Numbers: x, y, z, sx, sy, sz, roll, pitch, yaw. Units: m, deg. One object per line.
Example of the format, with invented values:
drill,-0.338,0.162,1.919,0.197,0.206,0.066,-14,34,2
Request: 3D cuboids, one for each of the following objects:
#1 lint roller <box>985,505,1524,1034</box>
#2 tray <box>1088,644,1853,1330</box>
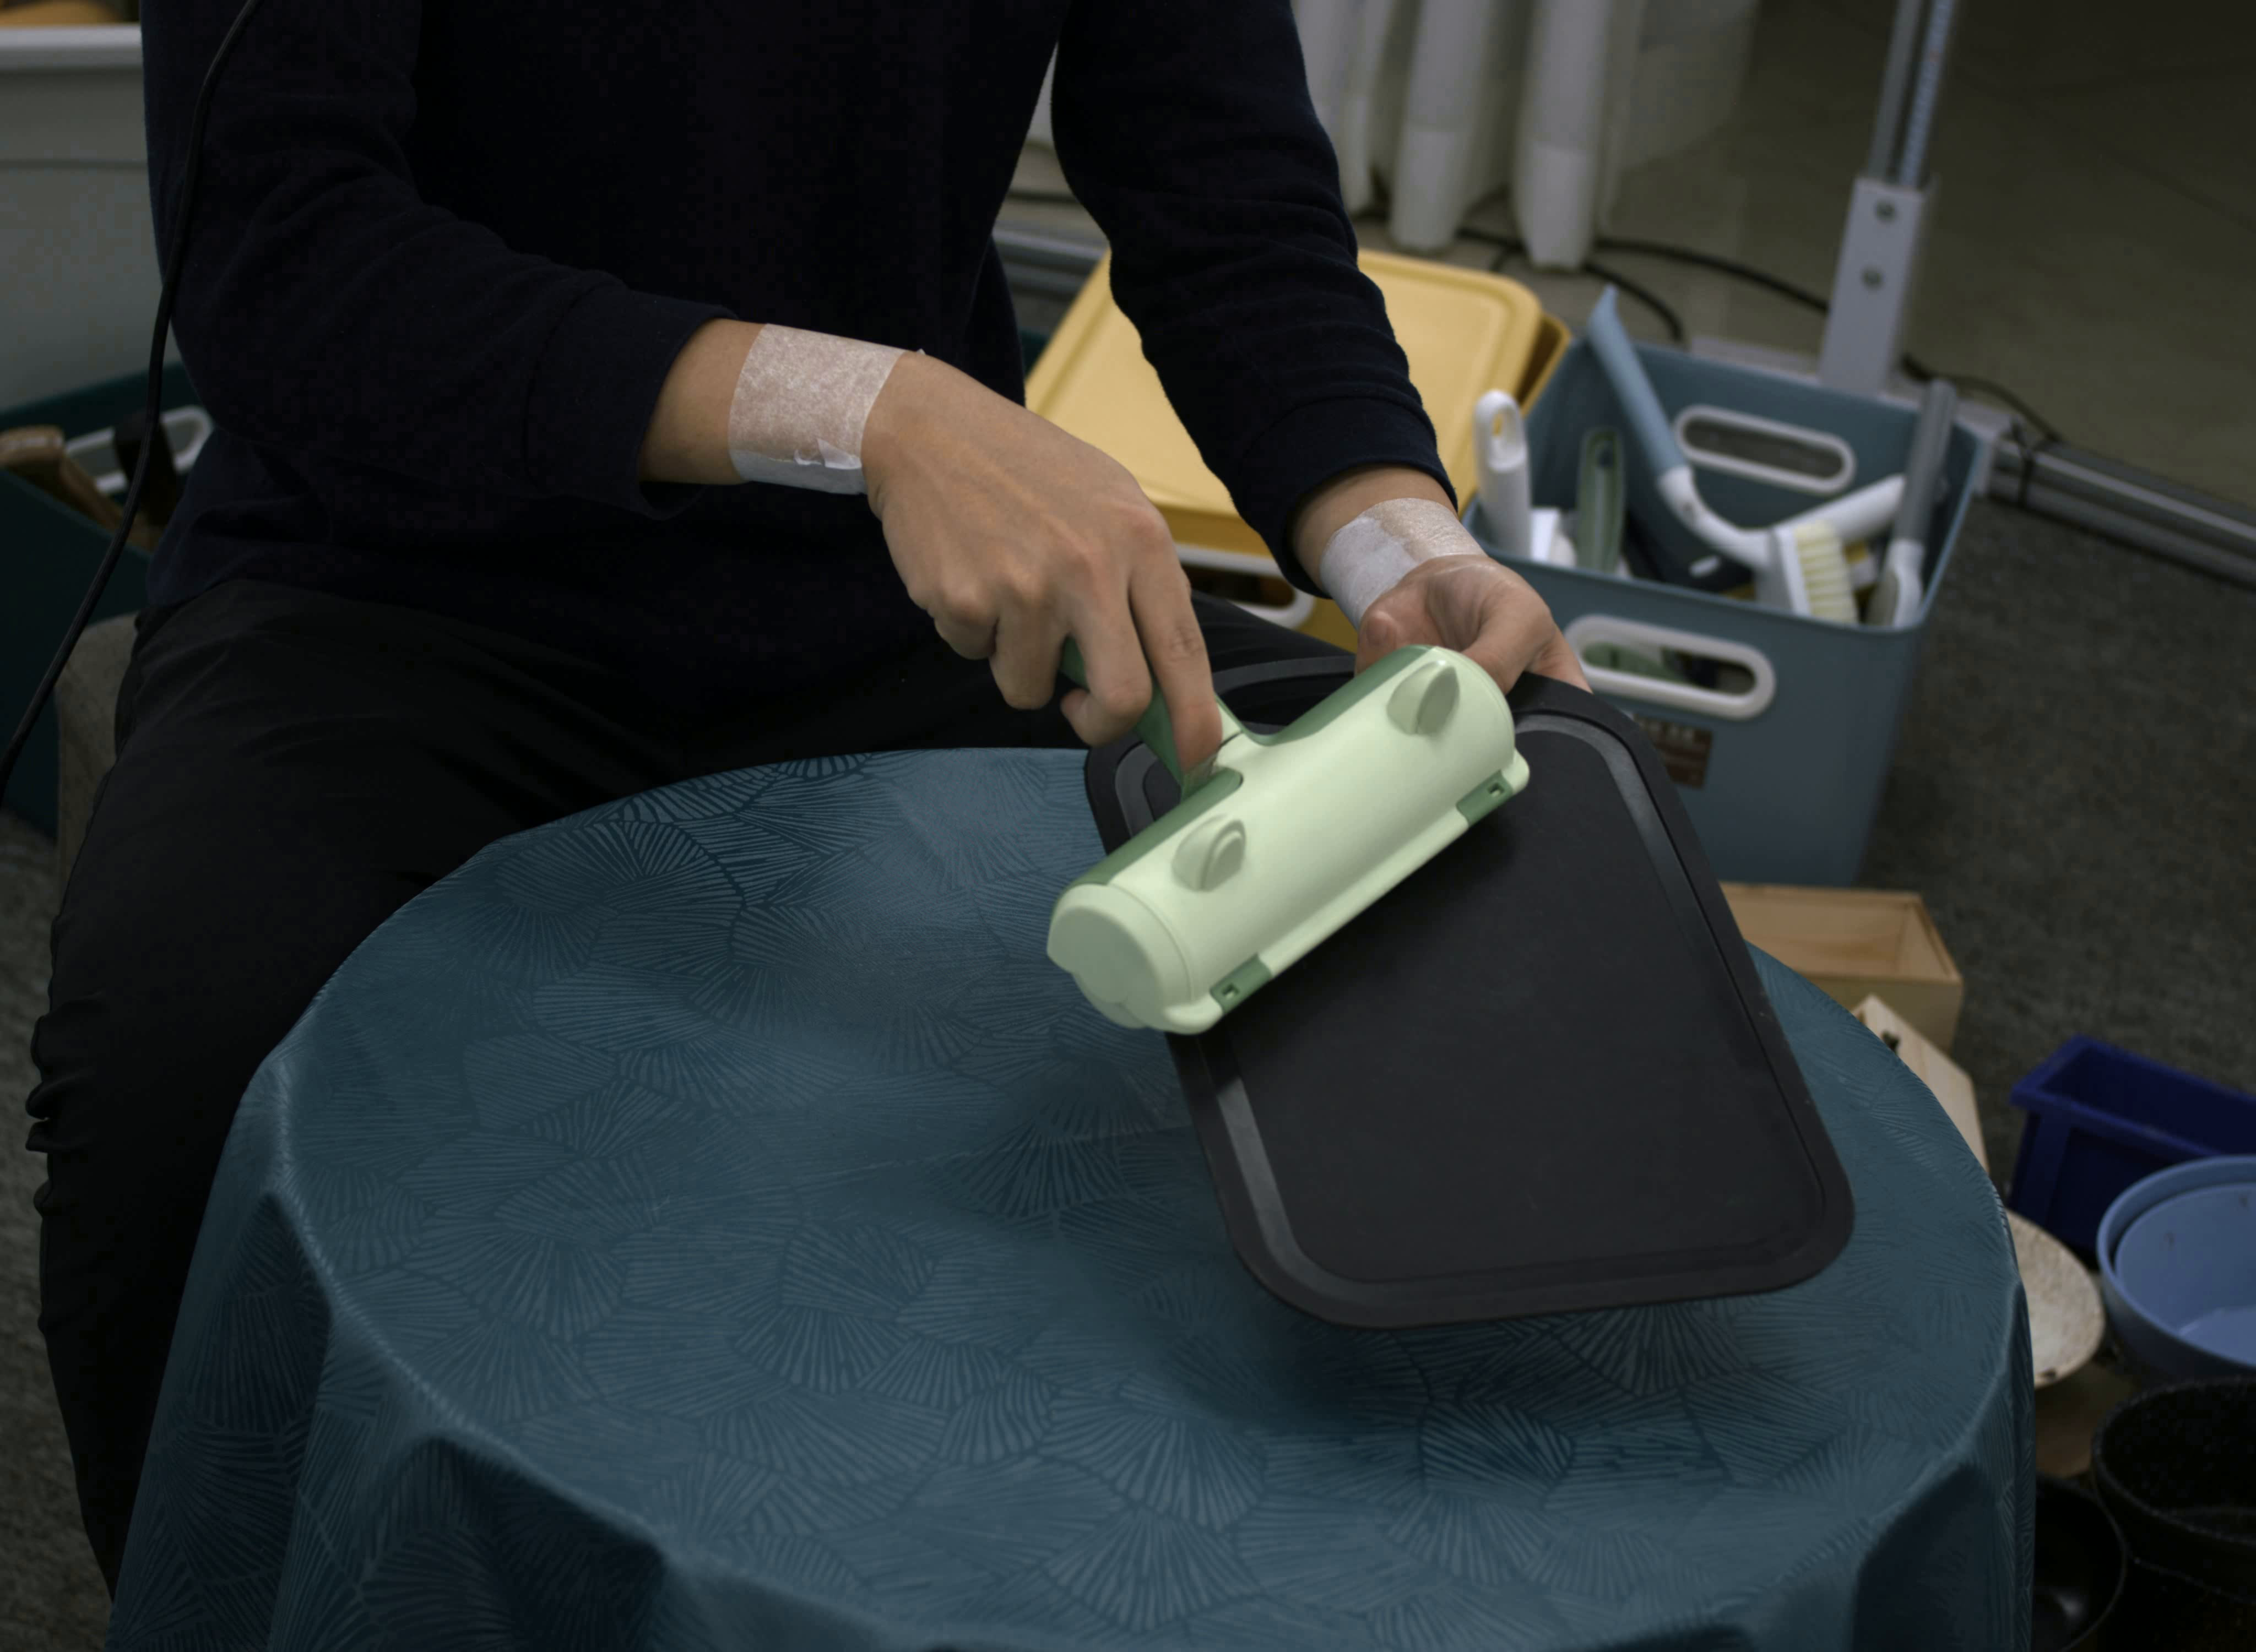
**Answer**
lint roller,0.024,-0.046,1.792,0.198,0.082,0.183,-36,88,-39
tray,0.108,0.044,1.794,0.210,0.010,0.328,-4,43,-13
